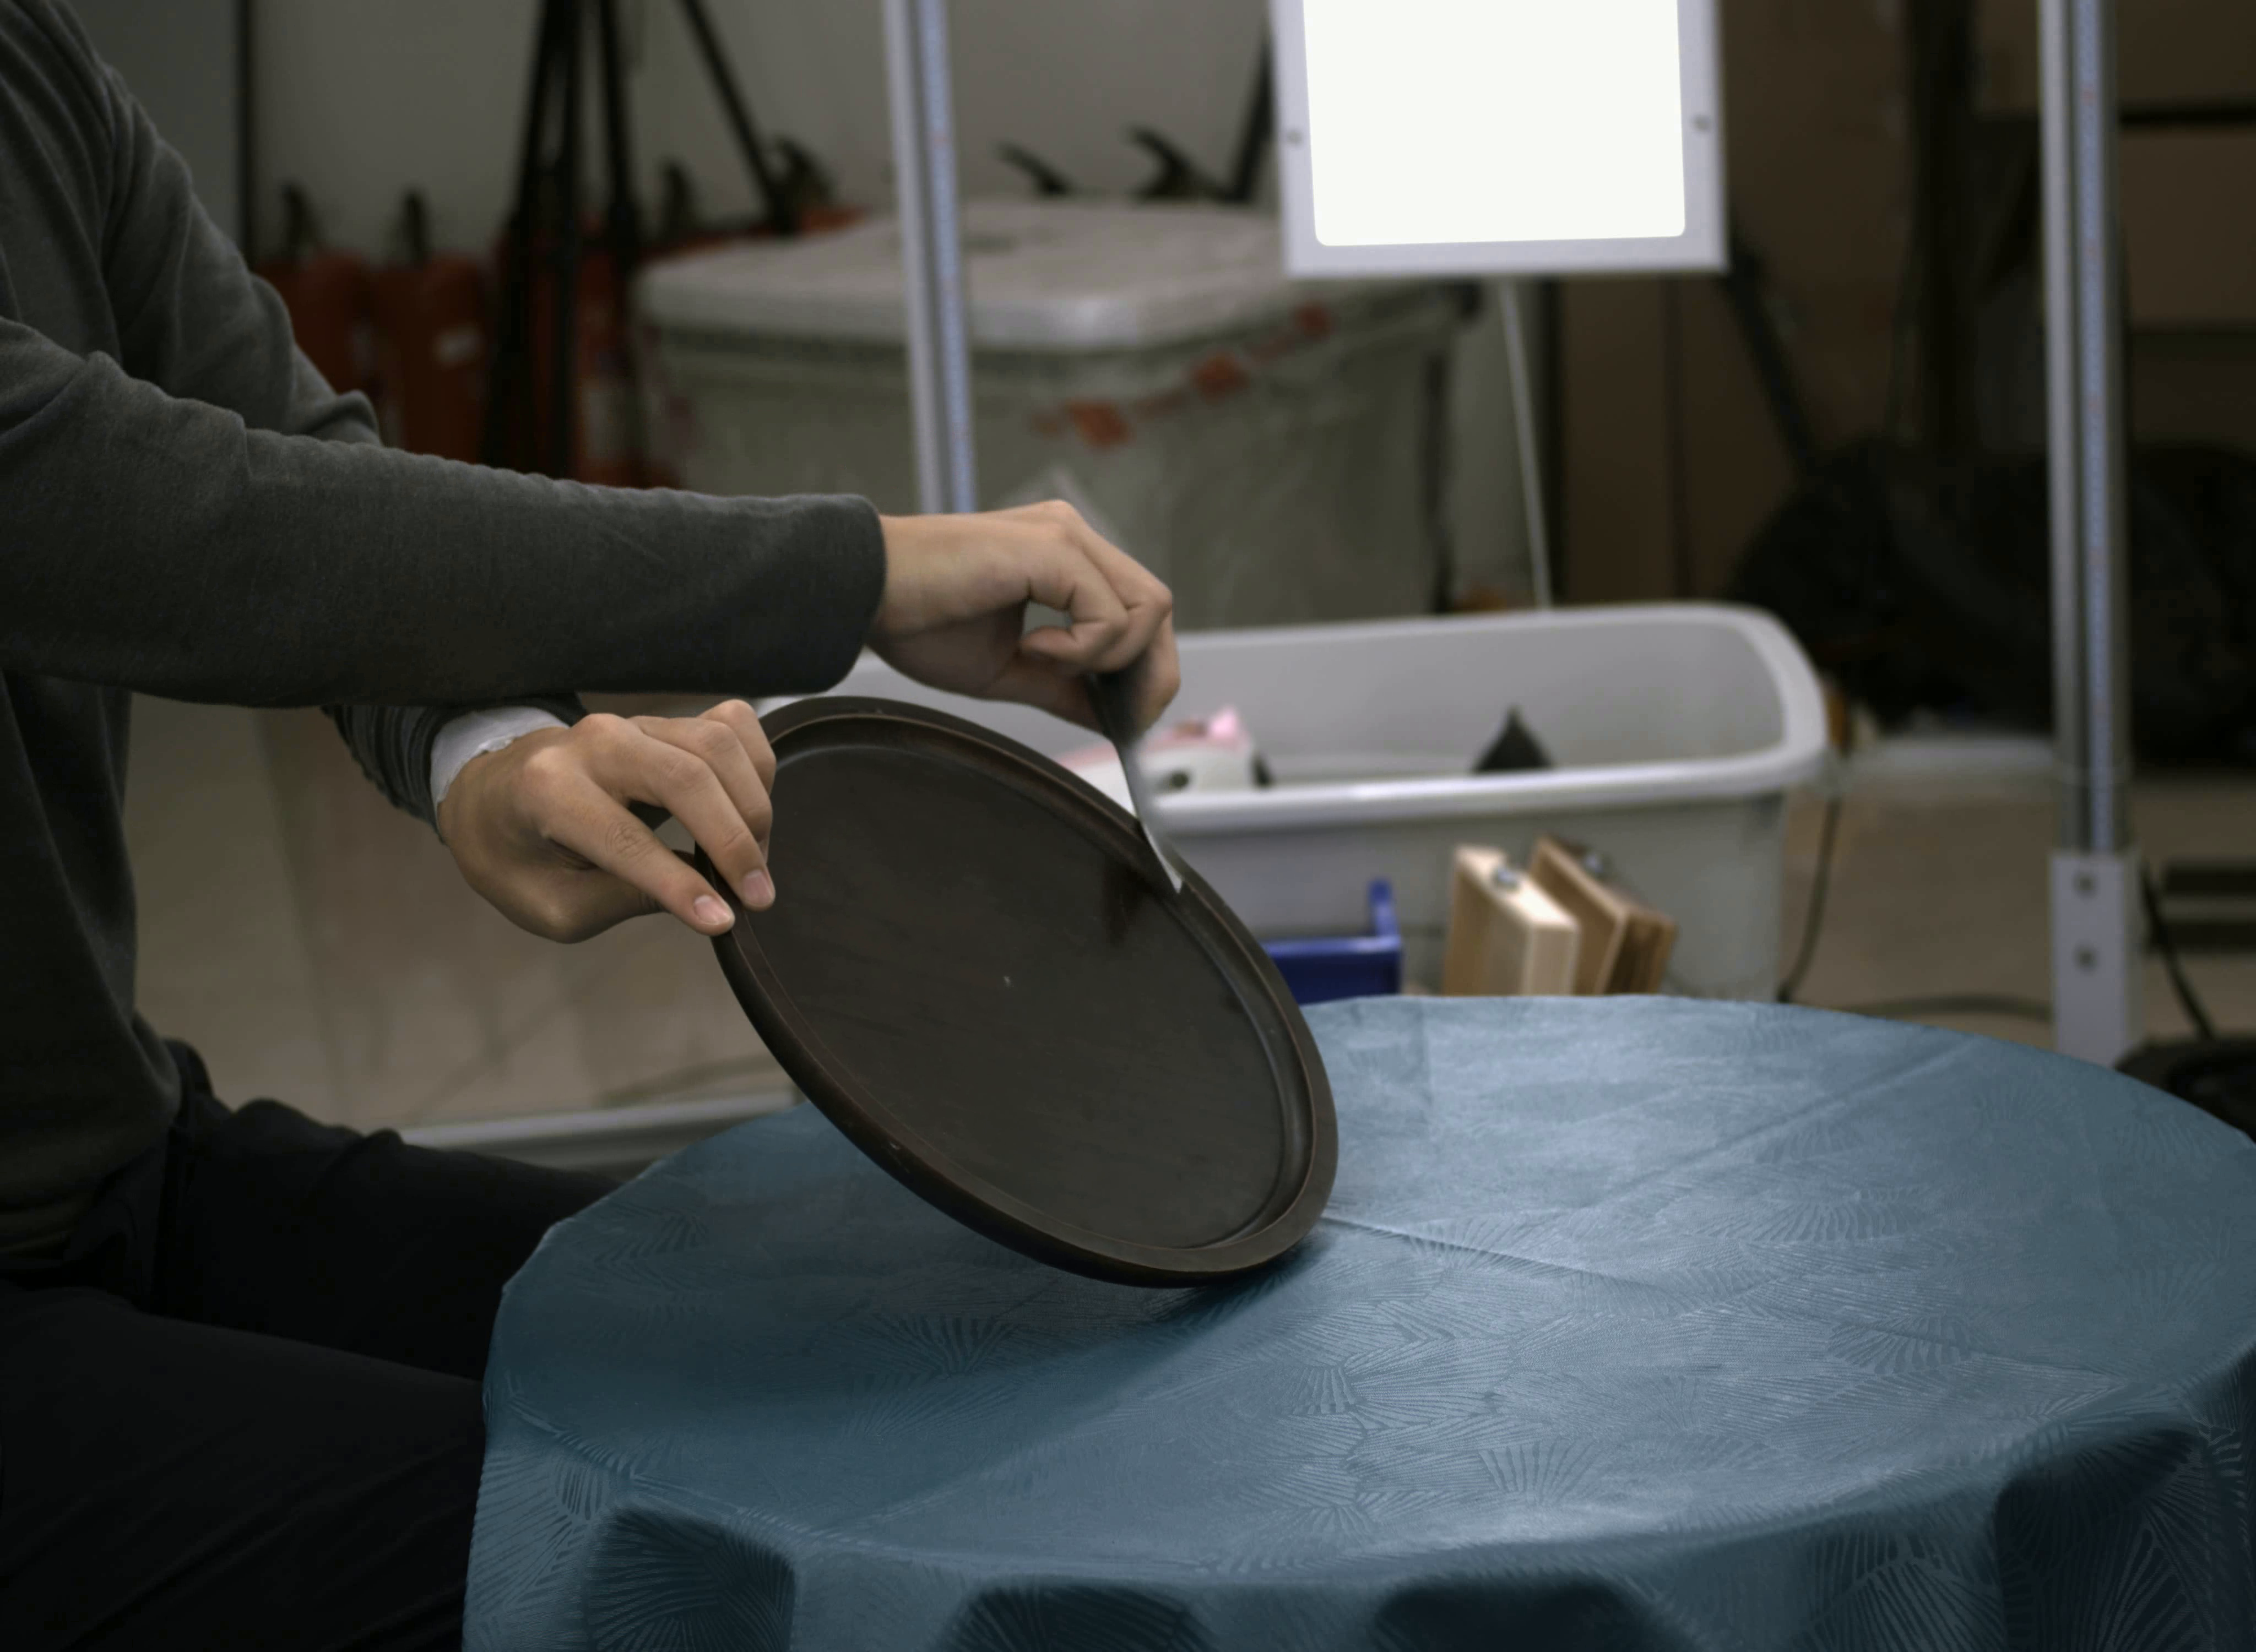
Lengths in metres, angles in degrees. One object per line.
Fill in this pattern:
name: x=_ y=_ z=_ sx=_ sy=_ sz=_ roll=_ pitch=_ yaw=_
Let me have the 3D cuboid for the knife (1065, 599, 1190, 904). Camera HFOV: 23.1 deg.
knife: x=0.001 y=-0.029 z=2.001 sx=0.016 sy=0.024 sz=0.238 roll=-43 pitch=25 yaw=13

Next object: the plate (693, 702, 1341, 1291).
plate: x=-0.037 y=0.056 z=1.837 sx=0.251 sy=0.029 sz=0.254 roll=27 pitch=32 yaw=-20
